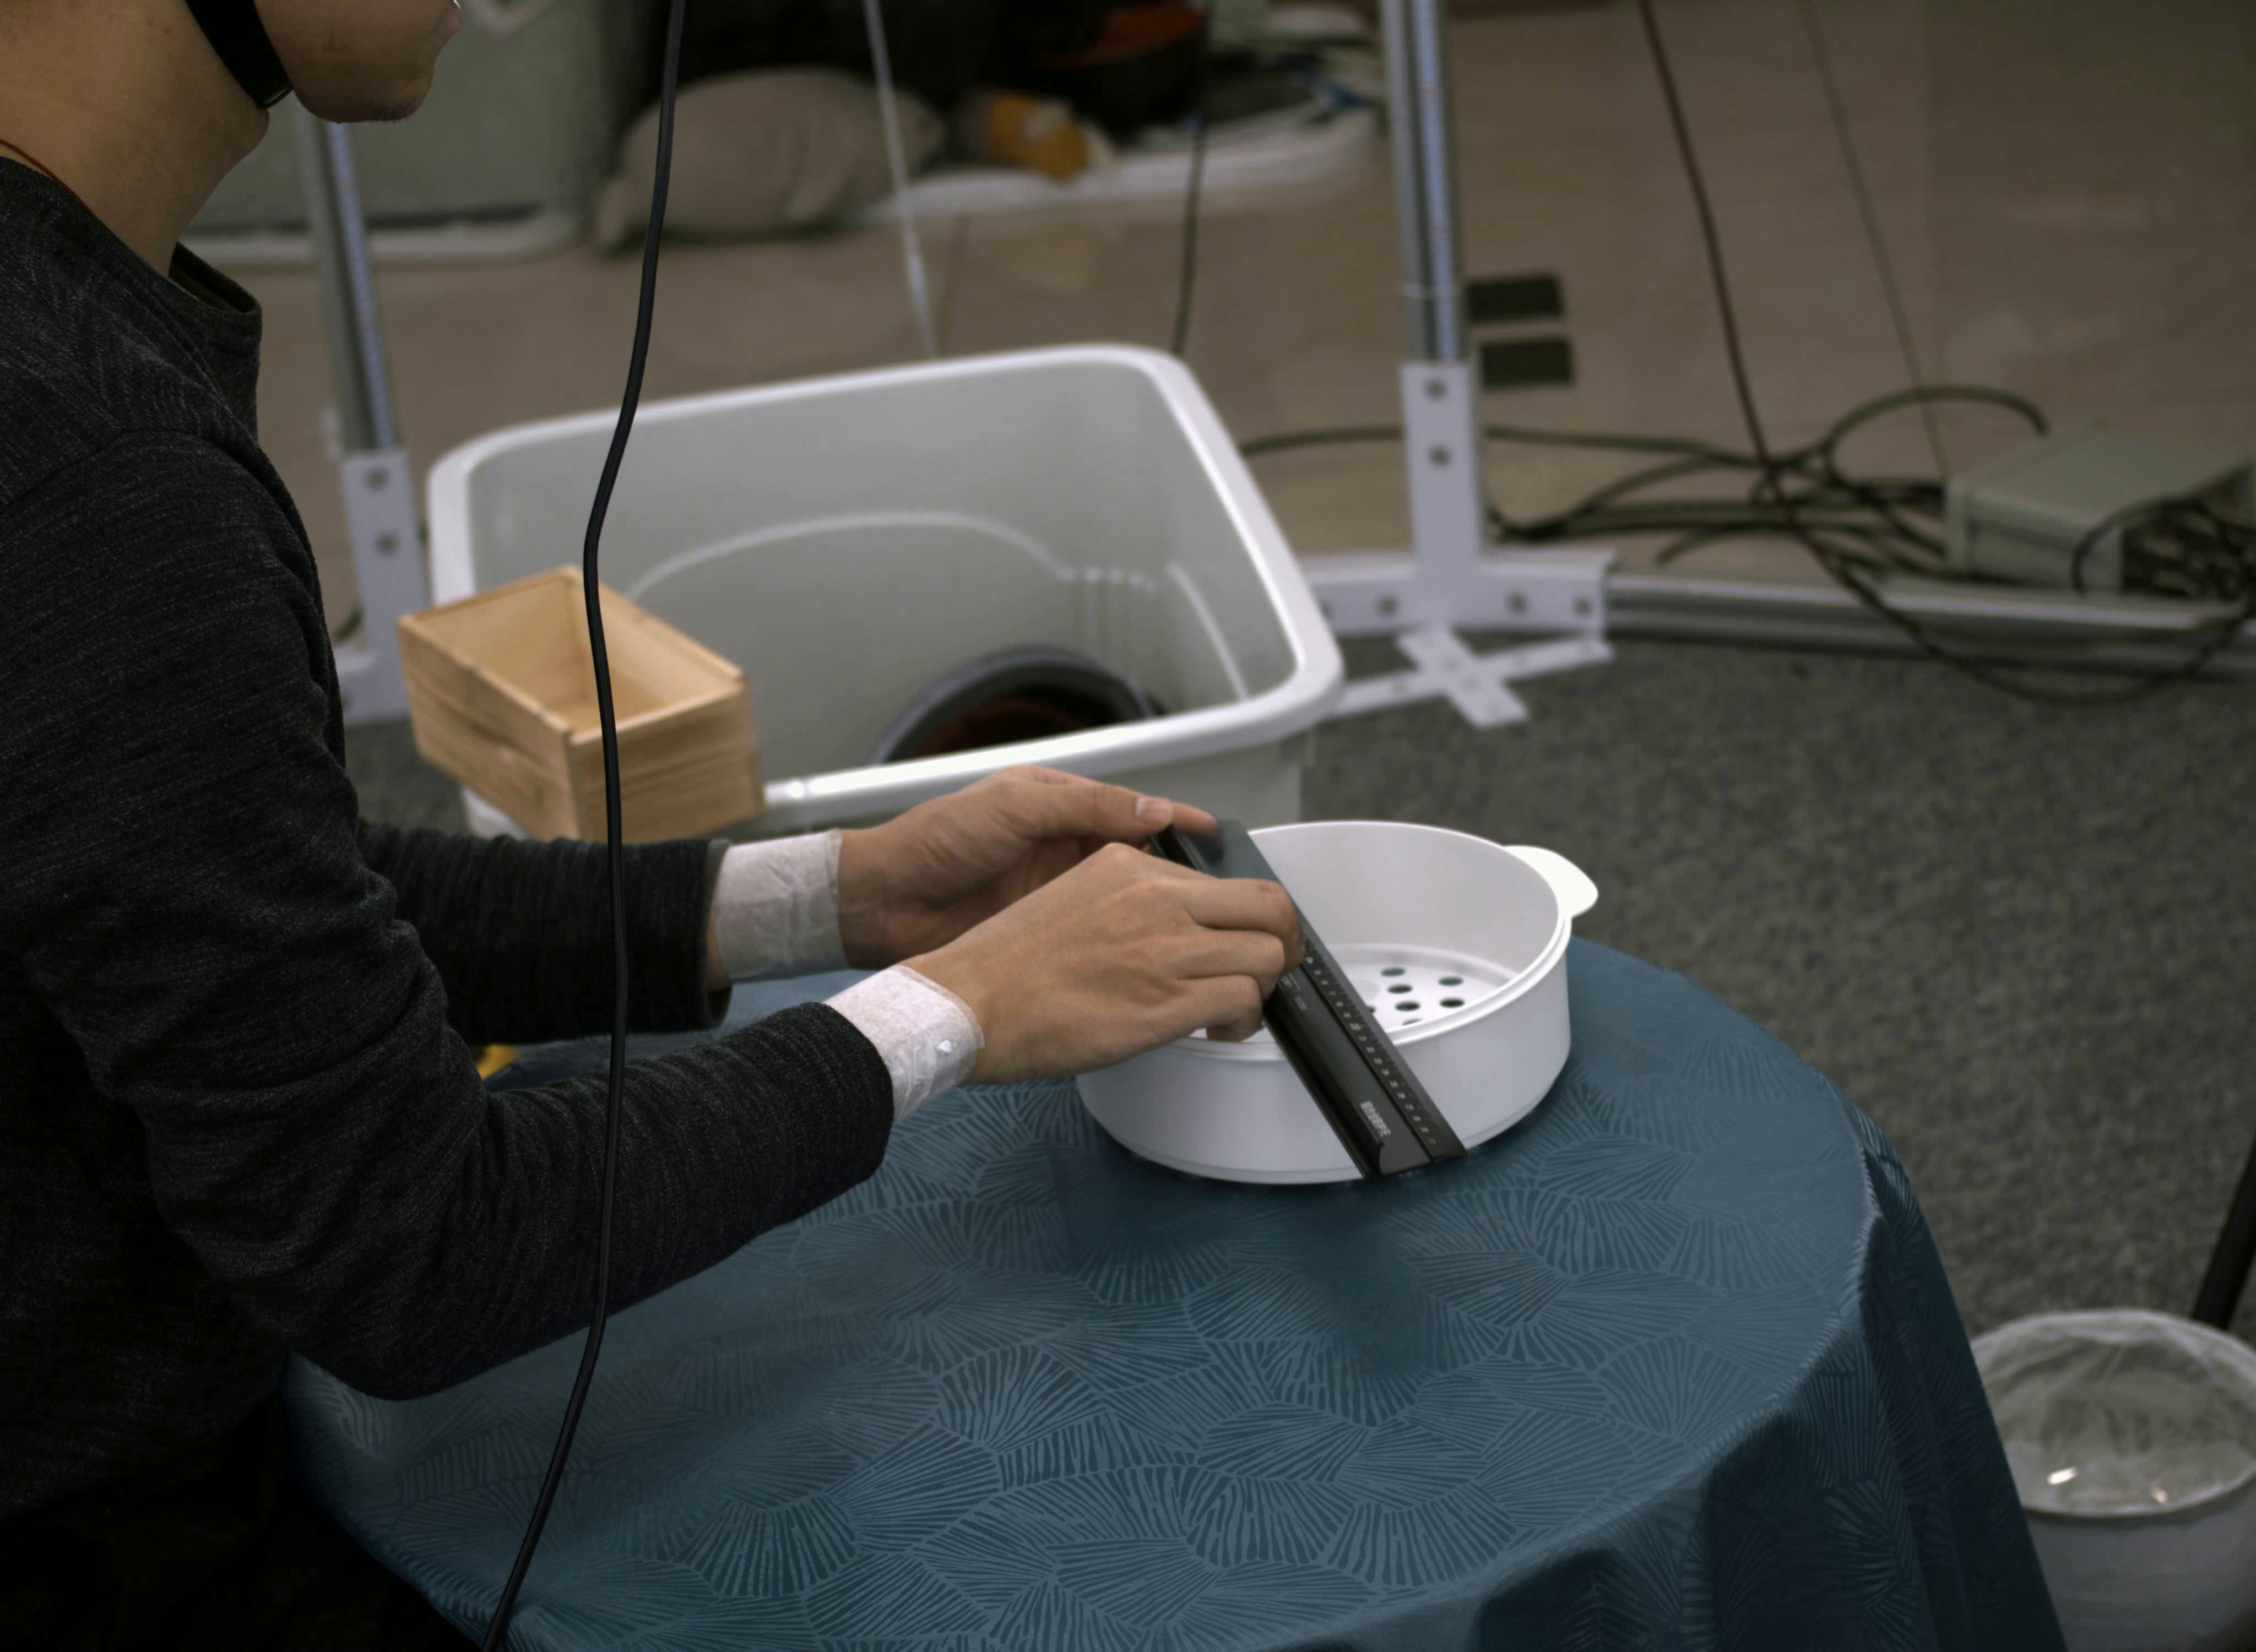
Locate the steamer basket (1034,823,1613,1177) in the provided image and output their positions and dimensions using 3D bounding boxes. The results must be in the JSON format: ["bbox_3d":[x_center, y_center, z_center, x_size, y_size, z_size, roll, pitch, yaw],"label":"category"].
[{"bbox_3d":[0.078,0.068,2.199,0.230,0.070,0.199,-12,25,-18],"label":"steamer basket"}]

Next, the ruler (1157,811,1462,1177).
[{"bbox_3d":[0.065,0.055,2.128,0.039,0.017,0.308,-12,25,-9],"label":"ruler"}]
